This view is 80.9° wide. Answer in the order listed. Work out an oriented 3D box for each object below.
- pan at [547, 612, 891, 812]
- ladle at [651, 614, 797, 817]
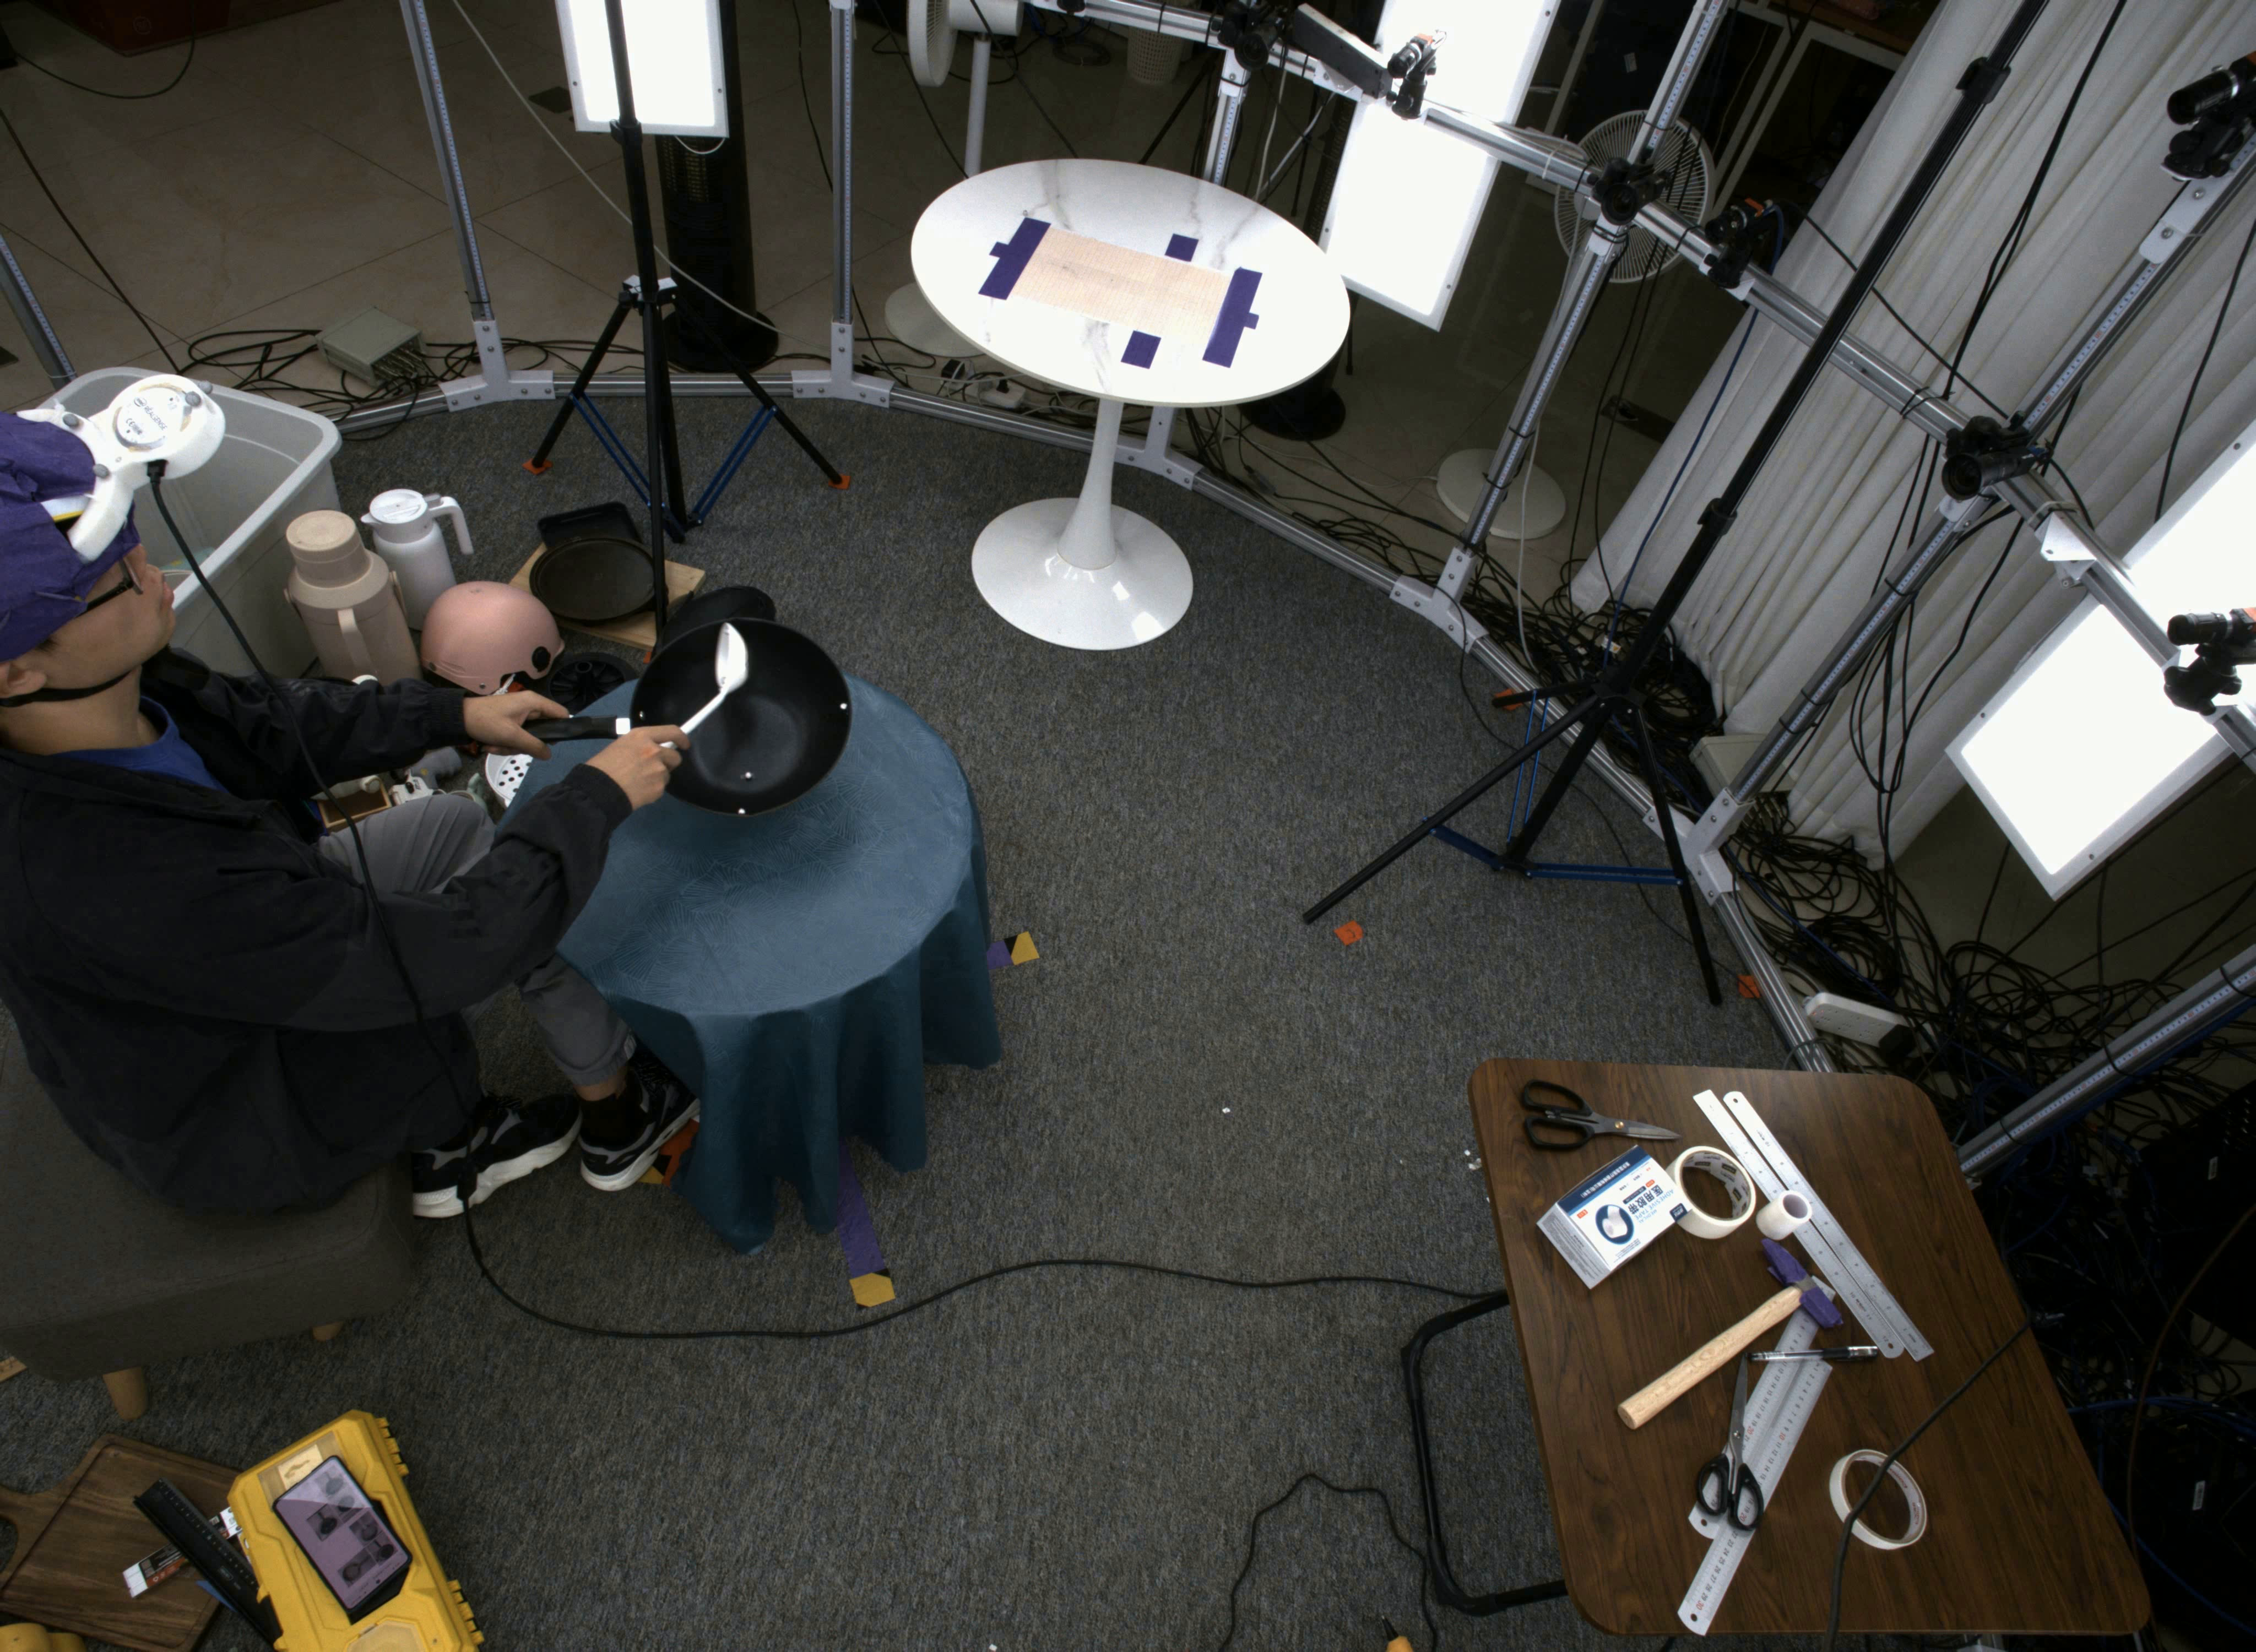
[{"bbox_3d":[-0.538,-0.130,1.674,0.463,0.088,0.285,-4,69,-12],"label":"pan"},{"bbox_3d":[-0.506,-0.141,1.603,0.071,0.089,0.292,41,59,-14],"label":"ladle"}]
